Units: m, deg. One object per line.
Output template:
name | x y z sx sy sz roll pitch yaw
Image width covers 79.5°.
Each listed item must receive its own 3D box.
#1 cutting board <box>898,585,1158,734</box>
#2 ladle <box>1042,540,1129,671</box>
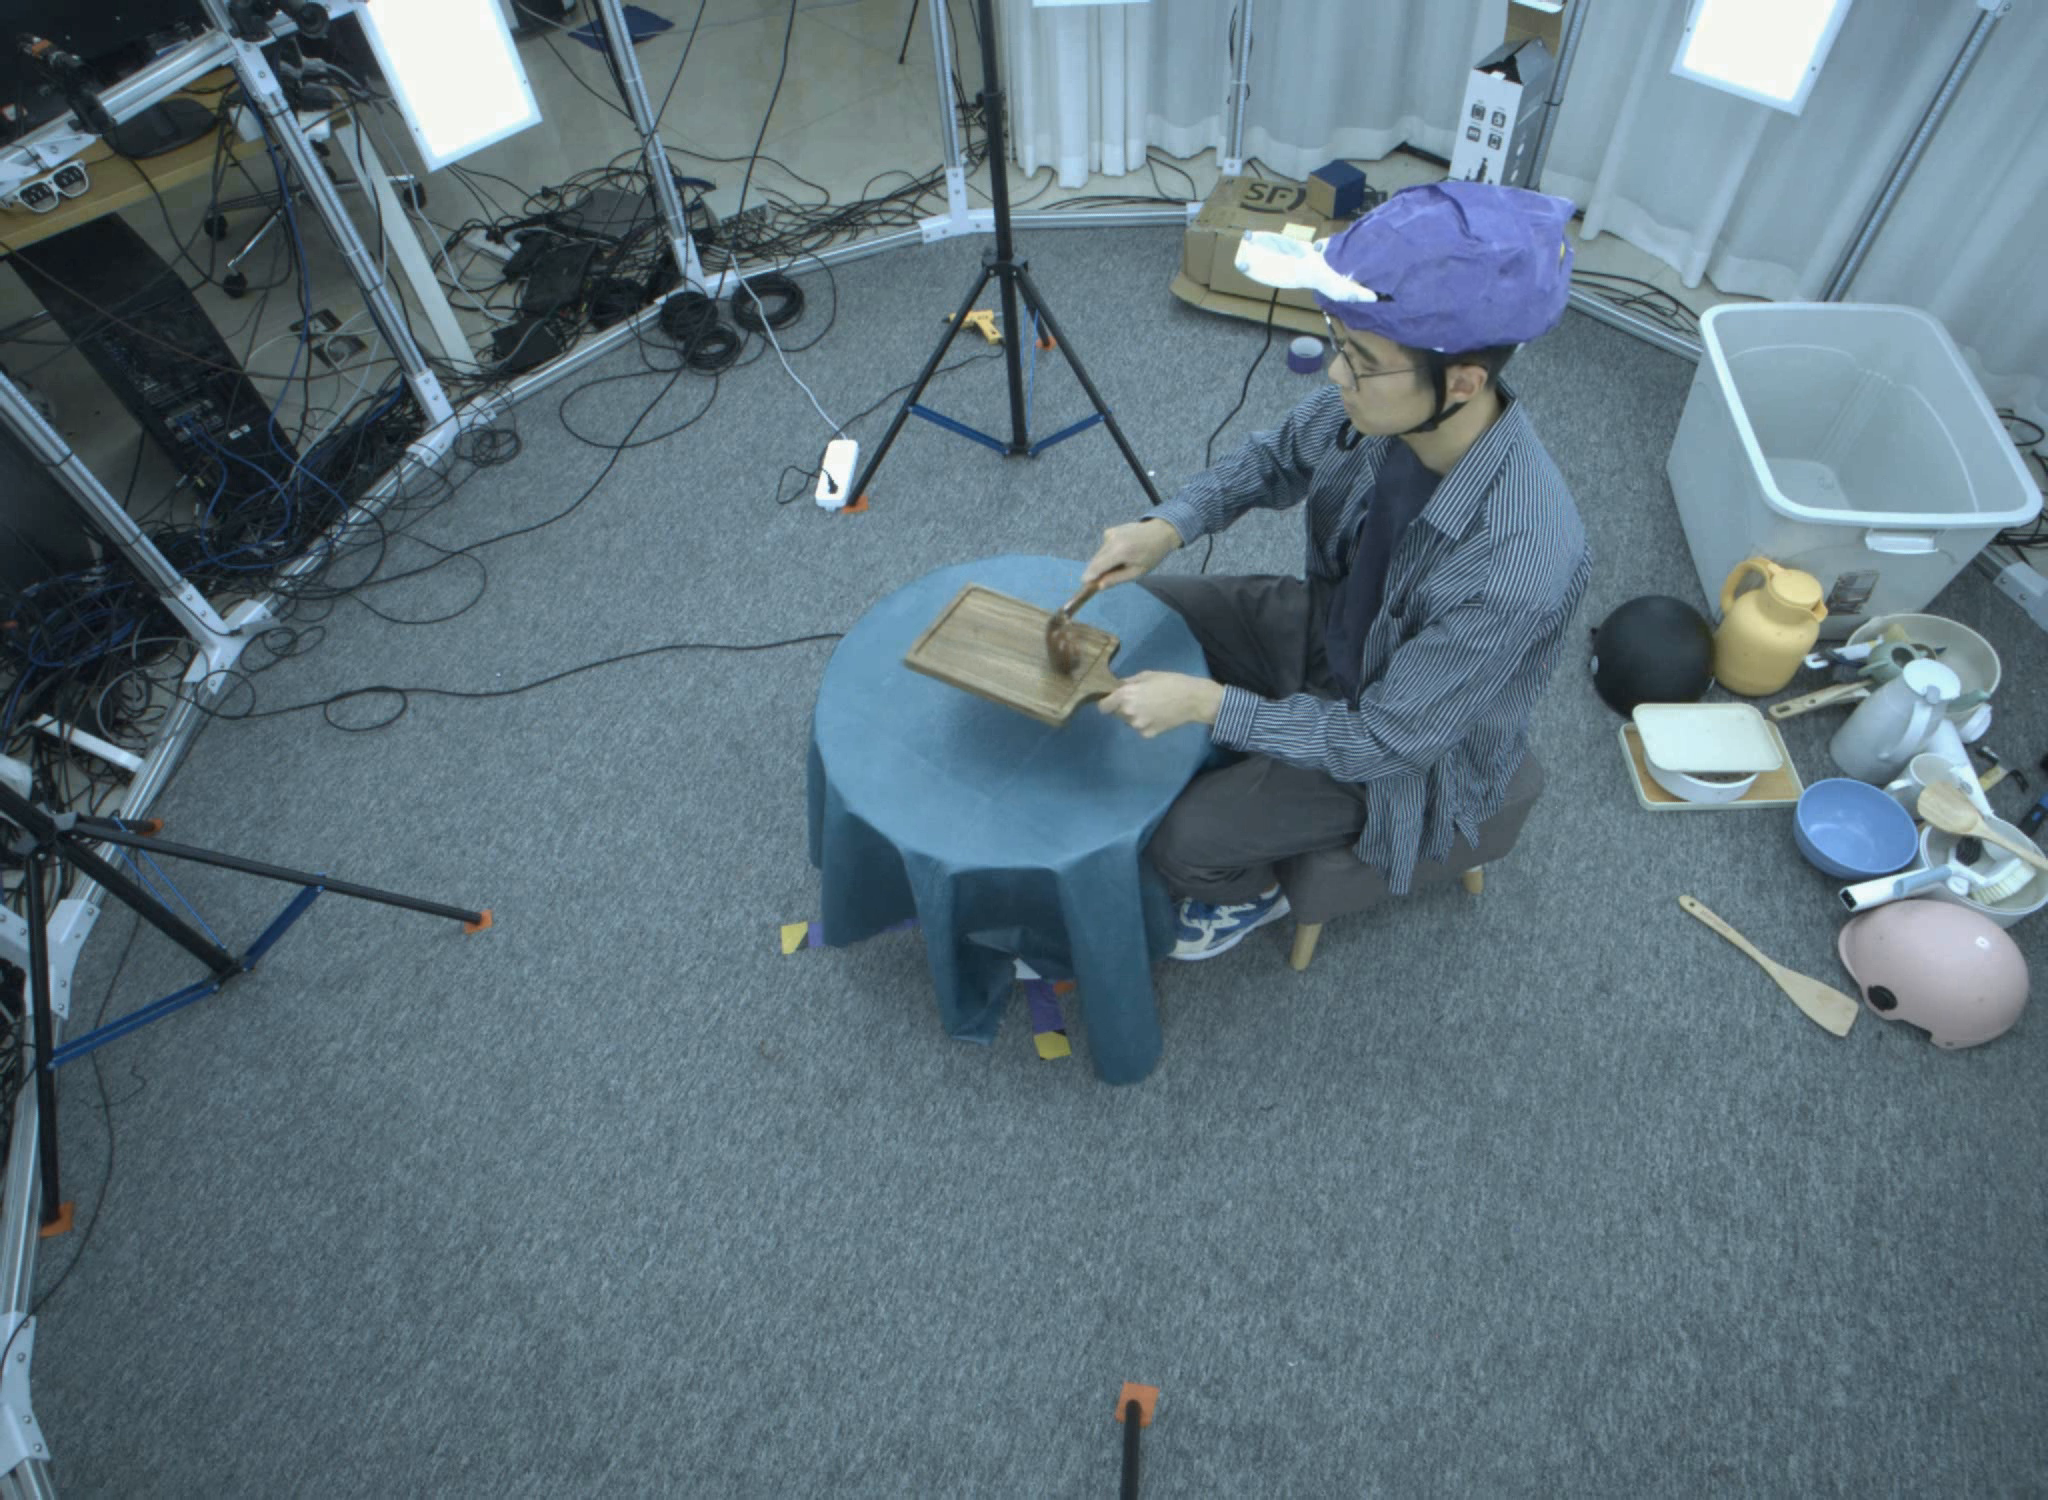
cutting board | 0.021 -0.113 1.708 0.348 0.023 0.201 23 49 13
ladle | 0.107 -0.212 1.742 0.076 0.082 0.275 30 52 15
